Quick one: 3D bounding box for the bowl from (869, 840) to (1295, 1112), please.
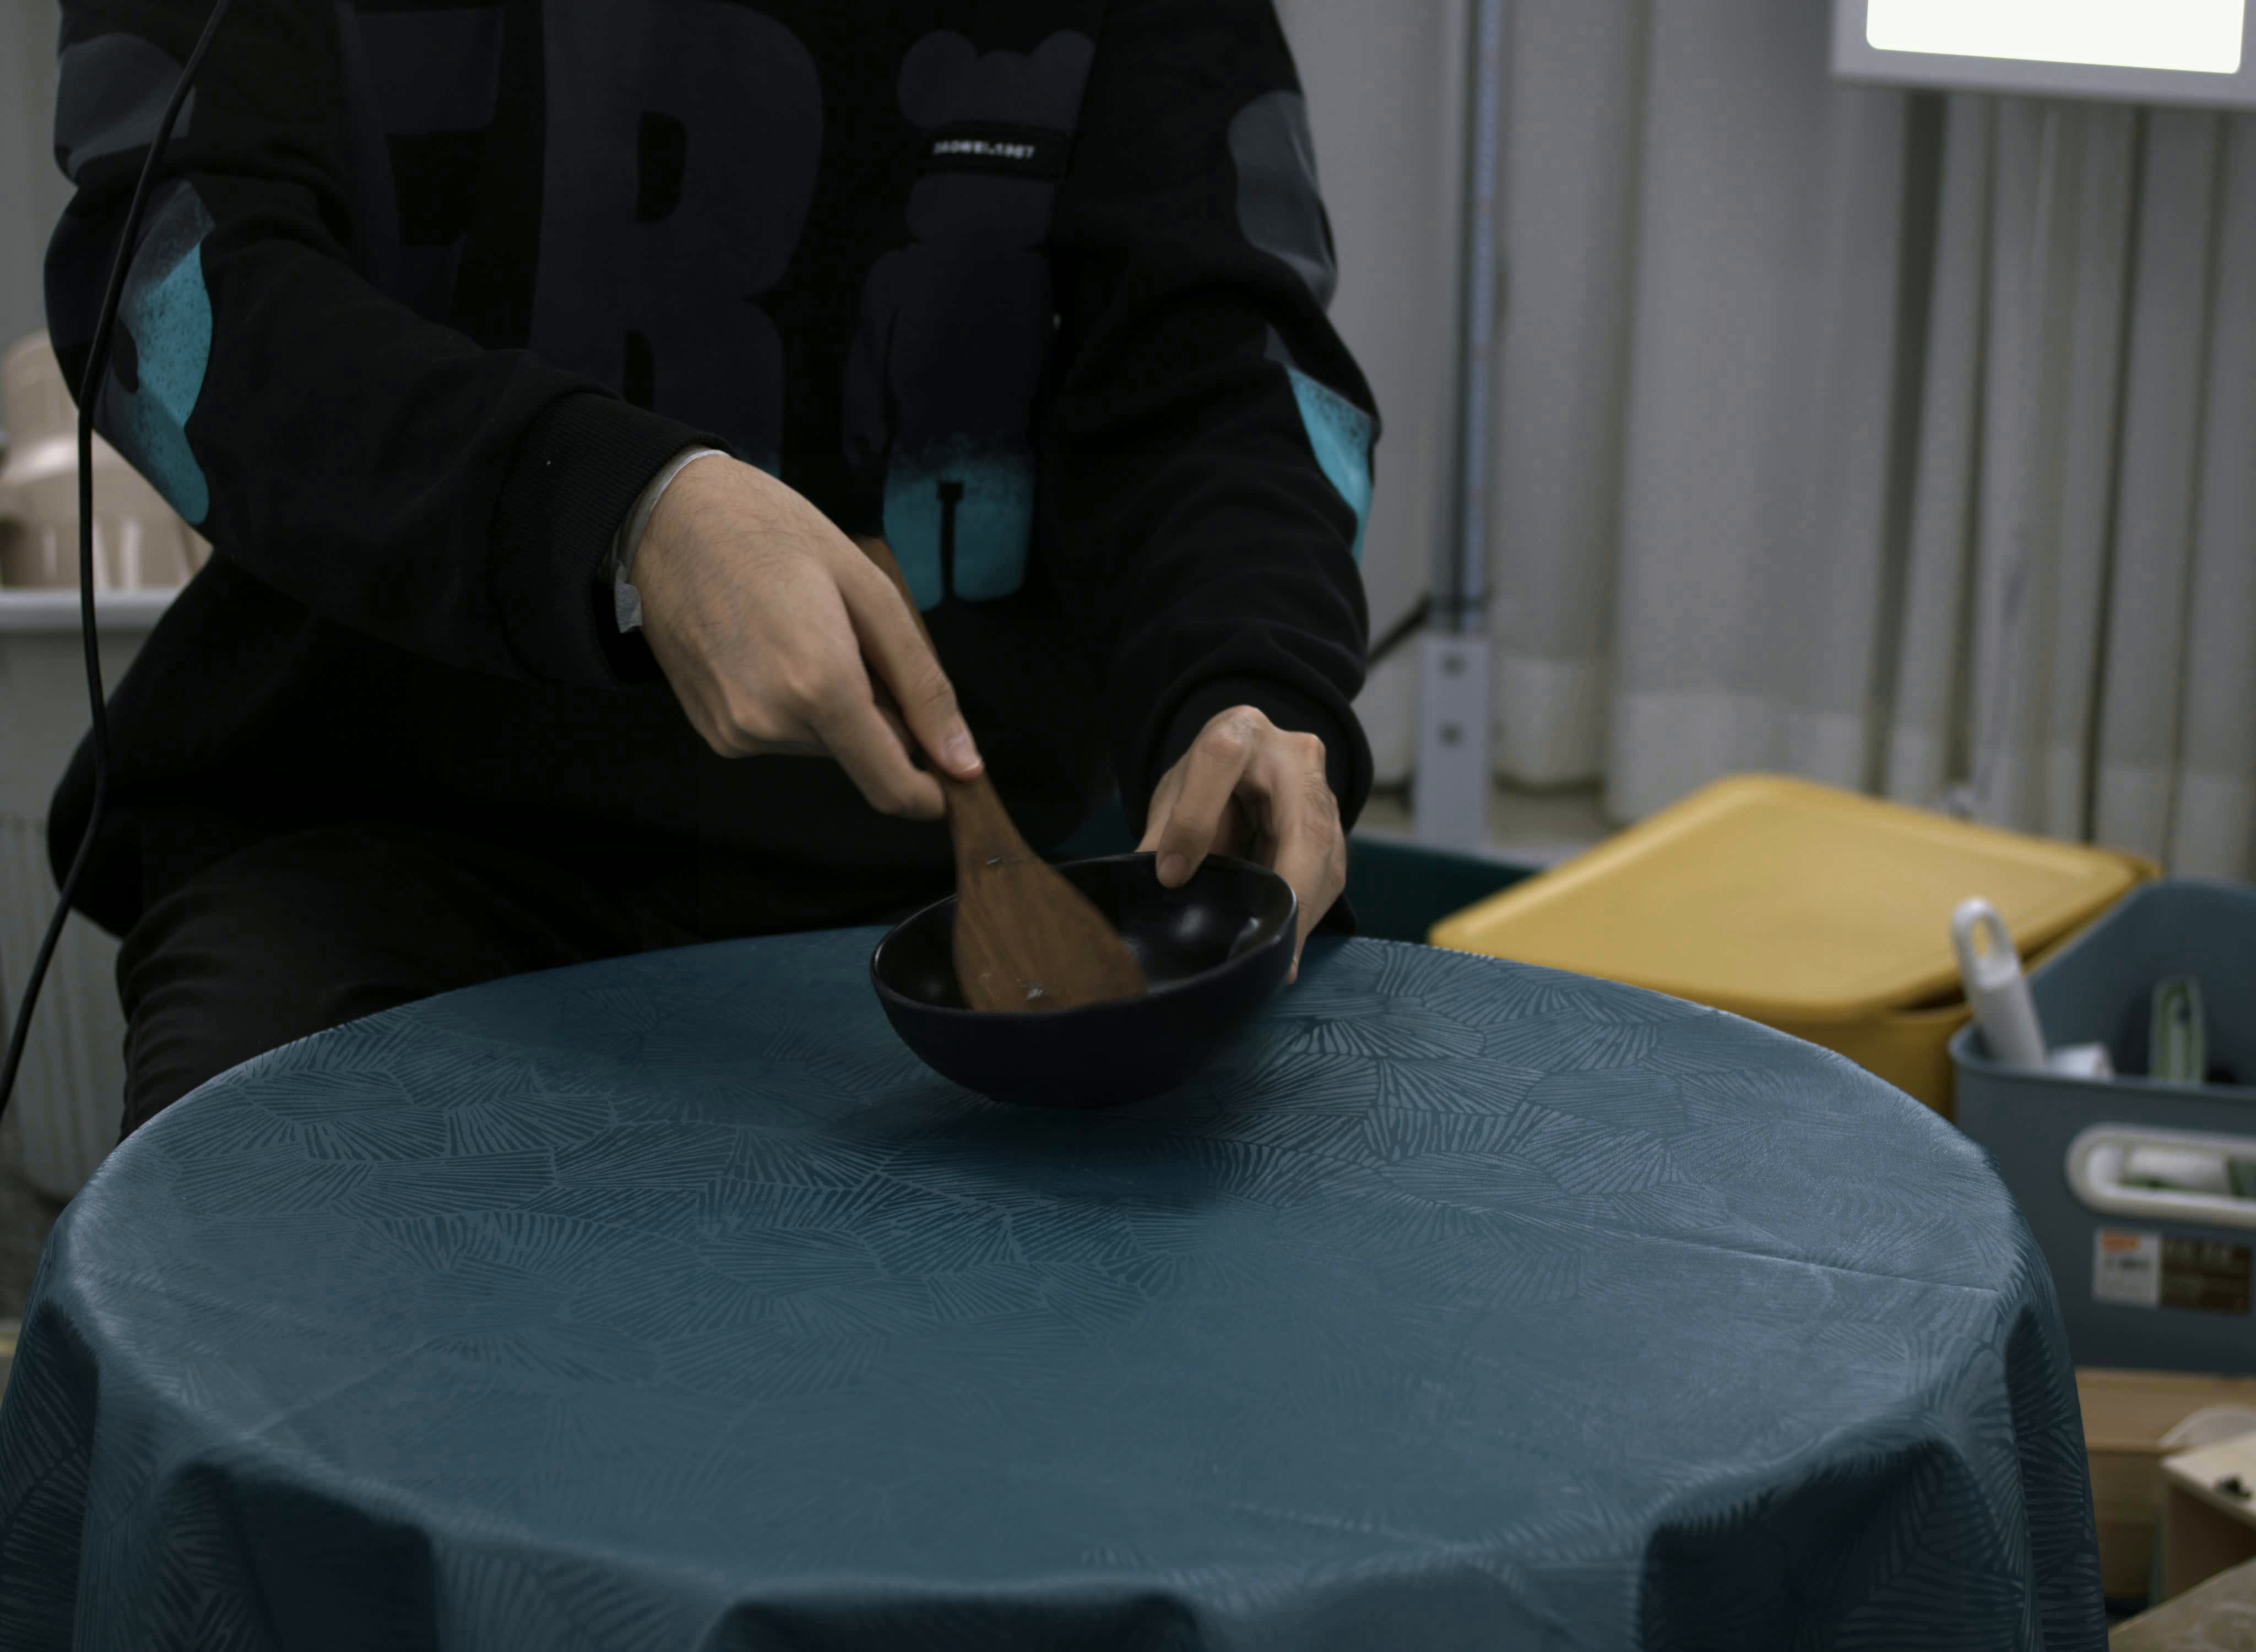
[{"bbox_3d":[-0.010,0.054,1.684,0.139,0.050,0.139,-11,20,5],"label":"bowl"}]

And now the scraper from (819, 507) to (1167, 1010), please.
[{"bbox_3d":[-0.048,-0.012,1.695,0.076,0.210,0.011,-12,-20,-43],"label":"scraper"}]
